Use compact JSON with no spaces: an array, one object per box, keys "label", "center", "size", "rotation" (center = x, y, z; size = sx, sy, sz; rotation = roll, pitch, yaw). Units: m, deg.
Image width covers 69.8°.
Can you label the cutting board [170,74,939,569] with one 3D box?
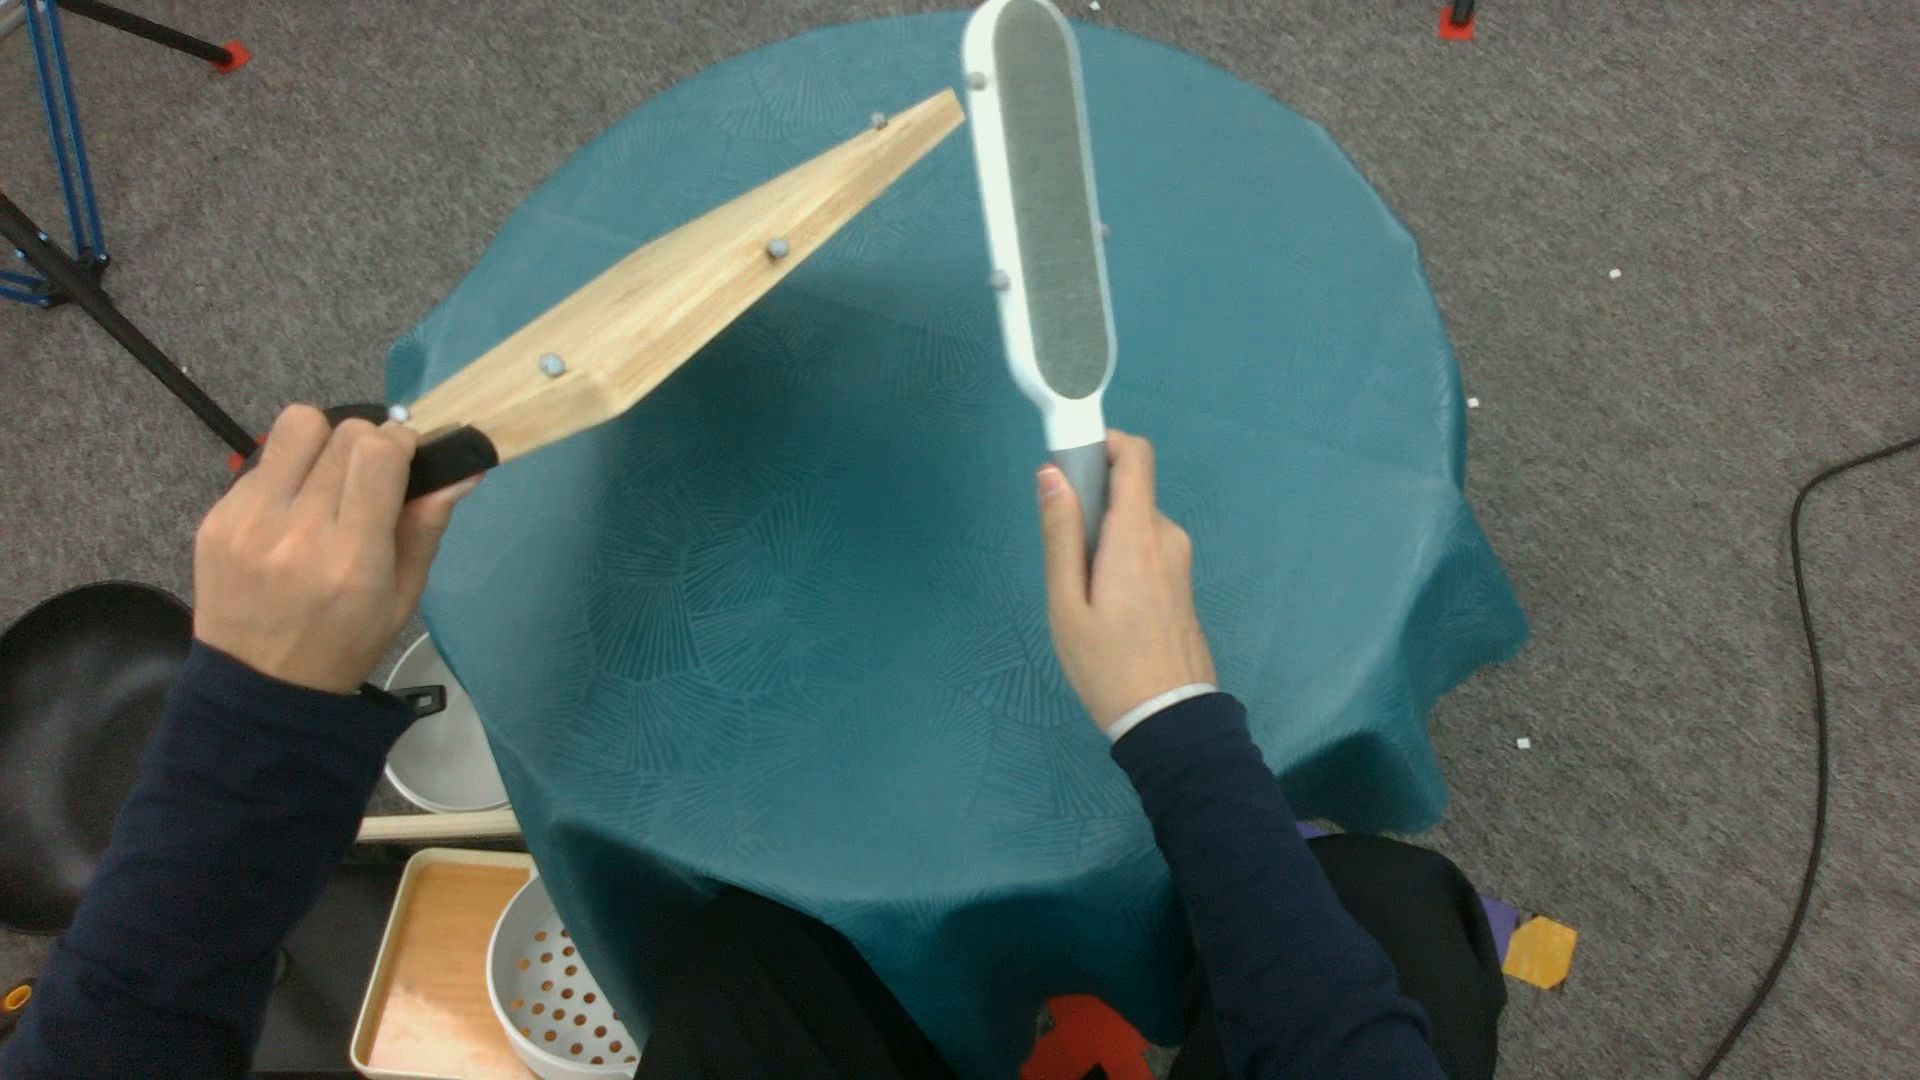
[{"label":"cutting board","center":[-0.169,-0.115,0.648],"size":[0.250,0.023,0.350],"rotation":[-17,25,30]}]

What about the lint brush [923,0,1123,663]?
[{"label":"lint brush","center":[0.032,-0.094,0.610],"size":[0.060,0.021,0.308],"rotation":[-18,99,-46]}]
